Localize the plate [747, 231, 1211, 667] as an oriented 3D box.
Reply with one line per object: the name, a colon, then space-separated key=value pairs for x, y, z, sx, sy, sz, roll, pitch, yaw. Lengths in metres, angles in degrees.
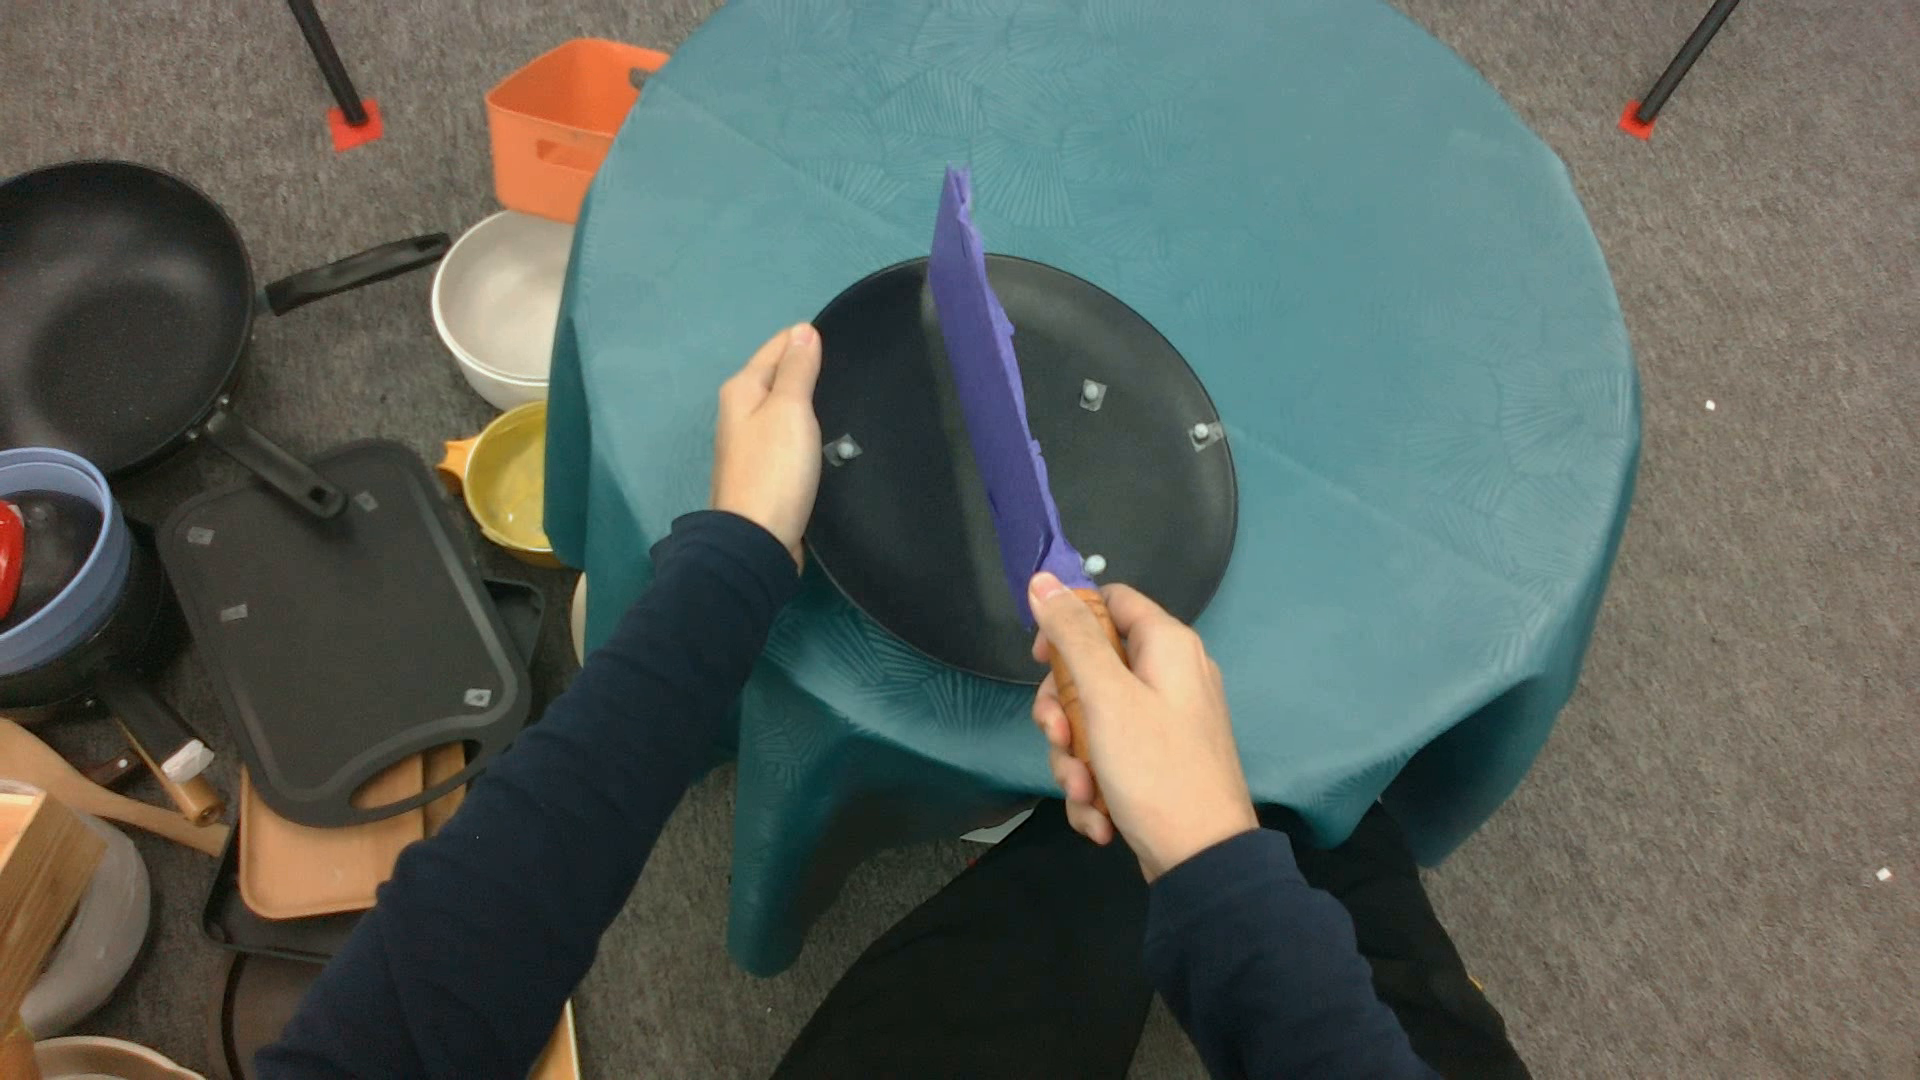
plate: x=0.013 y=-0.049 z=0.692 sx=0.244 sy=0.023 sz=0.245 roll=8 pitch=64 yaw=-16

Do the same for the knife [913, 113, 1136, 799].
knife: x=0.020 y=-0.034 z=0.615 sx=0.032 sy=0.103 sz=0.316 roll=-7 pitch=68 yaw=-12
